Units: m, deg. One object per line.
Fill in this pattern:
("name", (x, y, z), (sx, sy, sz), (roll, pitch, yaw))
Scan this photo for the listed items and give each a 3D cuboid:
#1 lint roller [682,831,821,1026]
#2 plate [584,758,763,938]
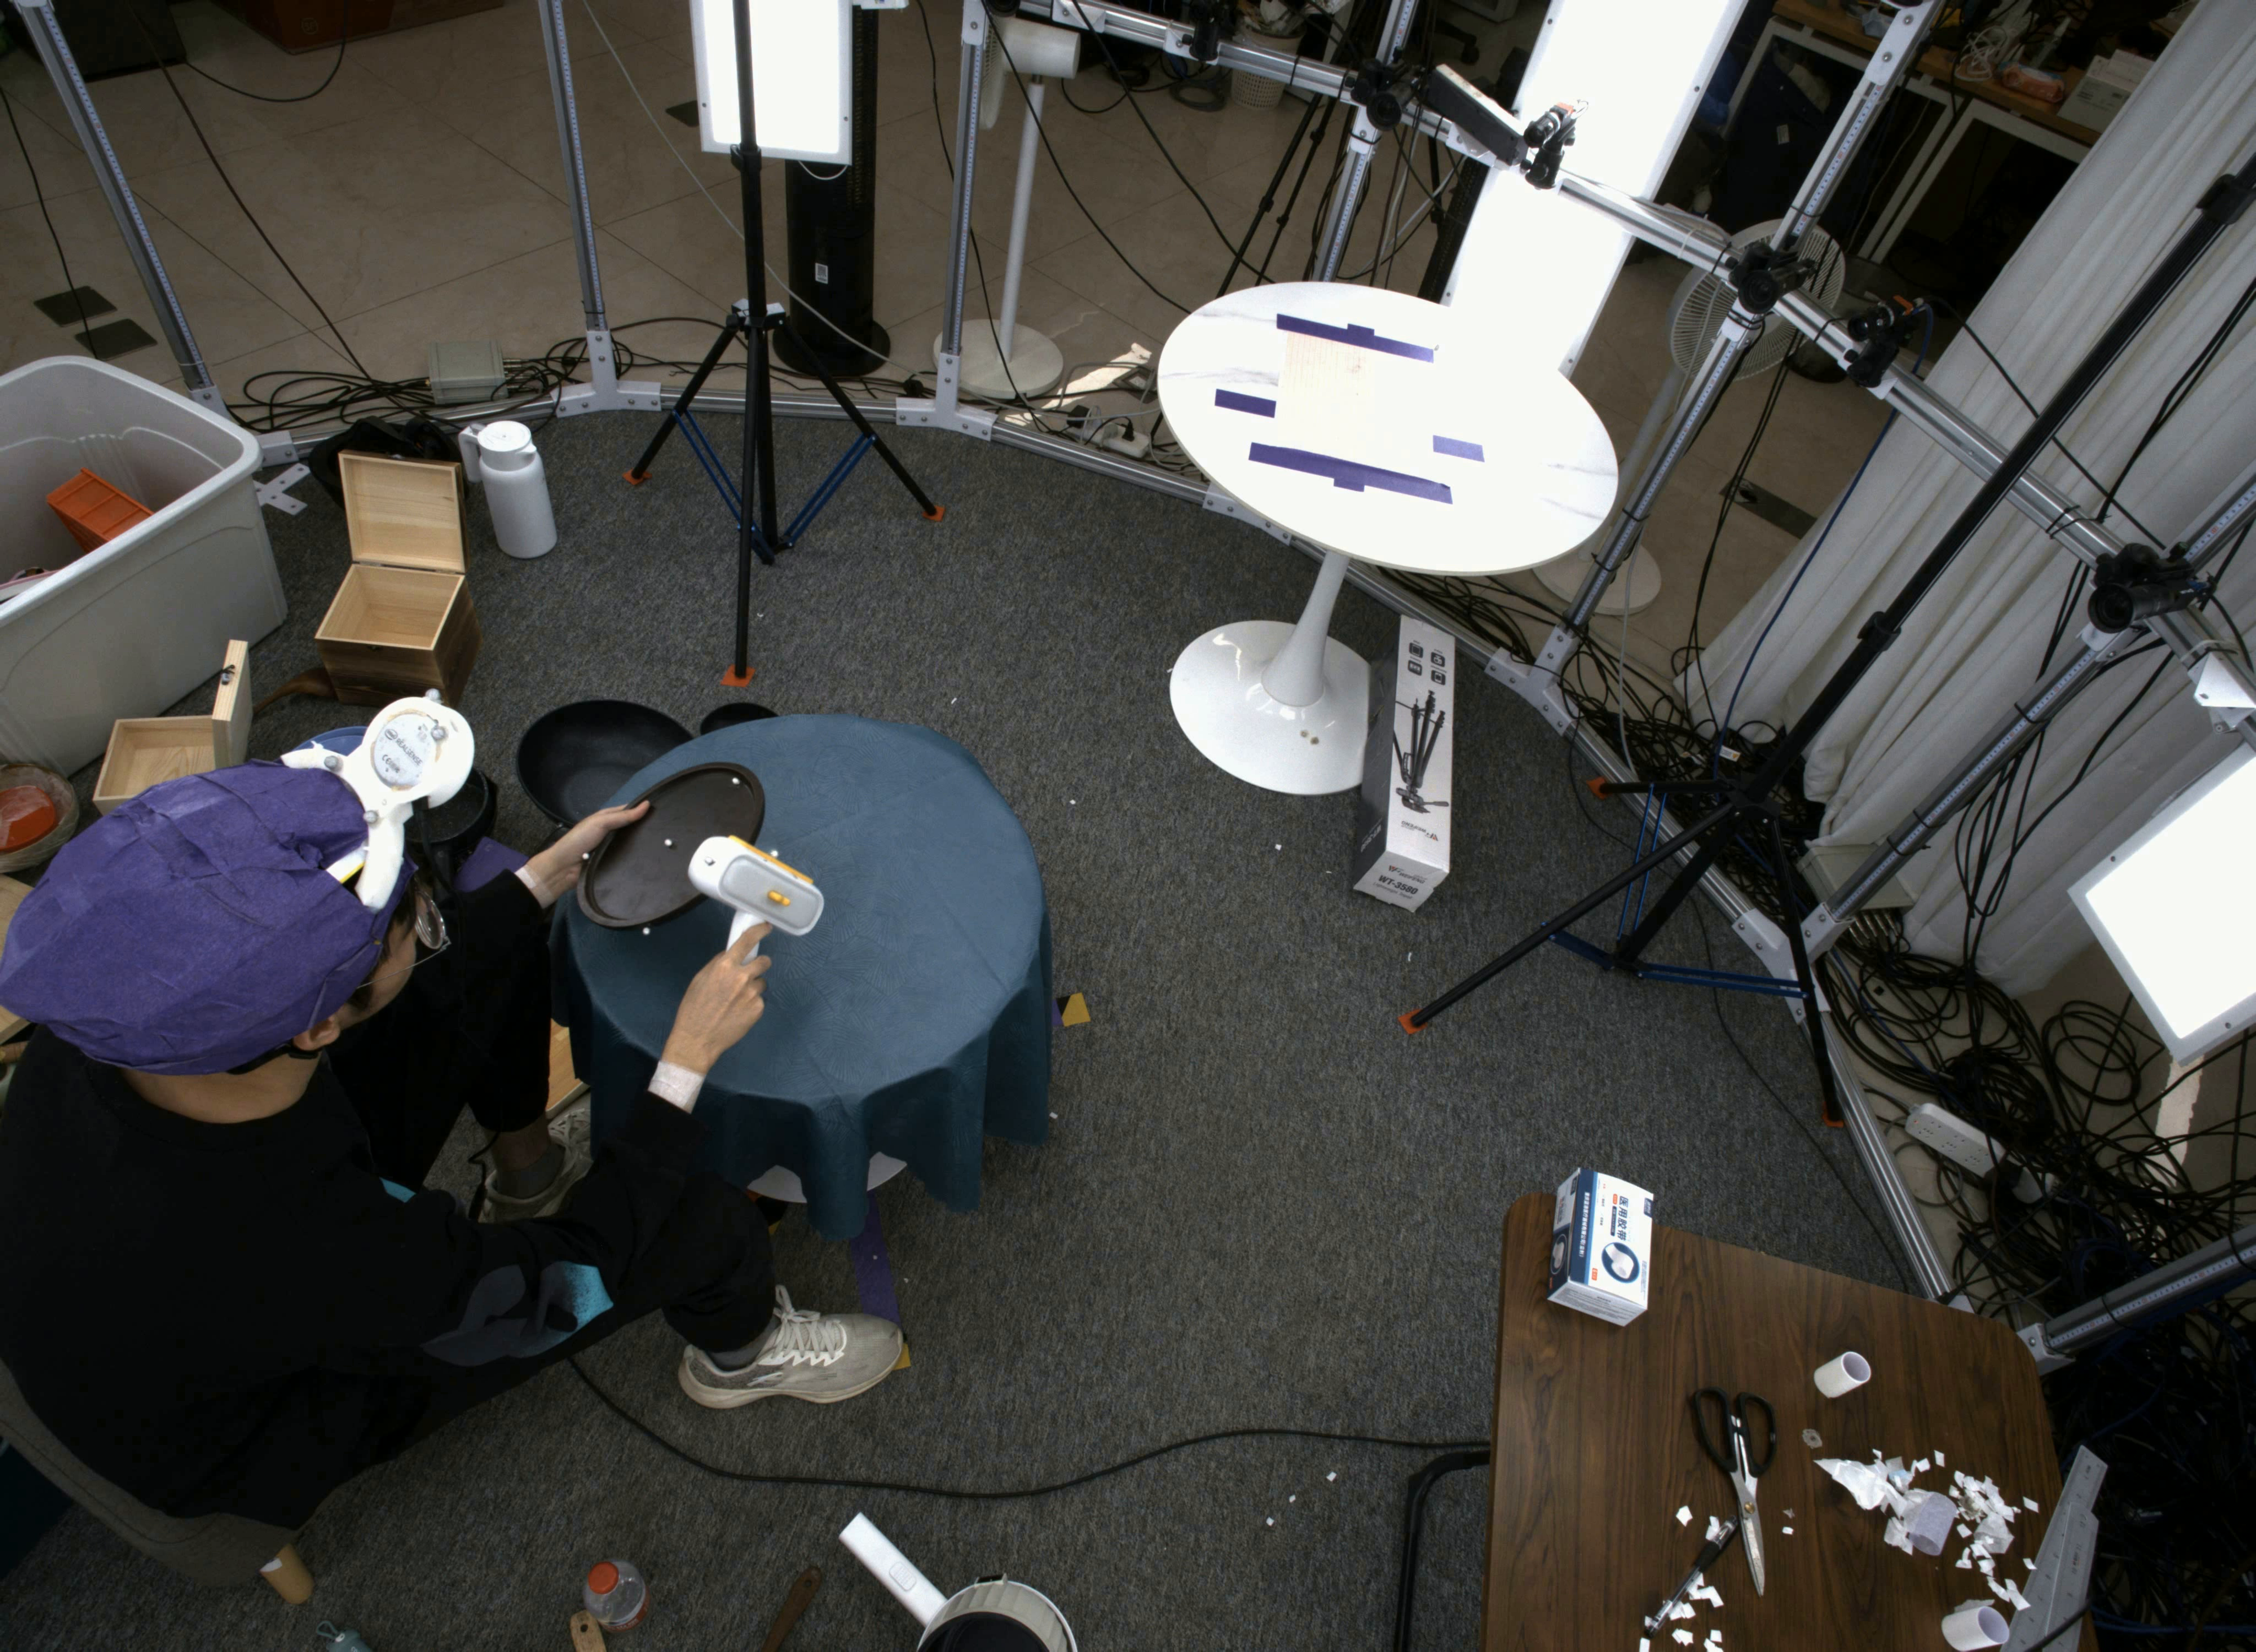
("lint roller", (-0.426, 0.118, 1.430), (0.072, 0.198, 0.193), (14, 80, 22))
("plate", (-0.535, 0.023, 1.509), (0.250, 0.030, 0.250), (-14, 47, 17))
